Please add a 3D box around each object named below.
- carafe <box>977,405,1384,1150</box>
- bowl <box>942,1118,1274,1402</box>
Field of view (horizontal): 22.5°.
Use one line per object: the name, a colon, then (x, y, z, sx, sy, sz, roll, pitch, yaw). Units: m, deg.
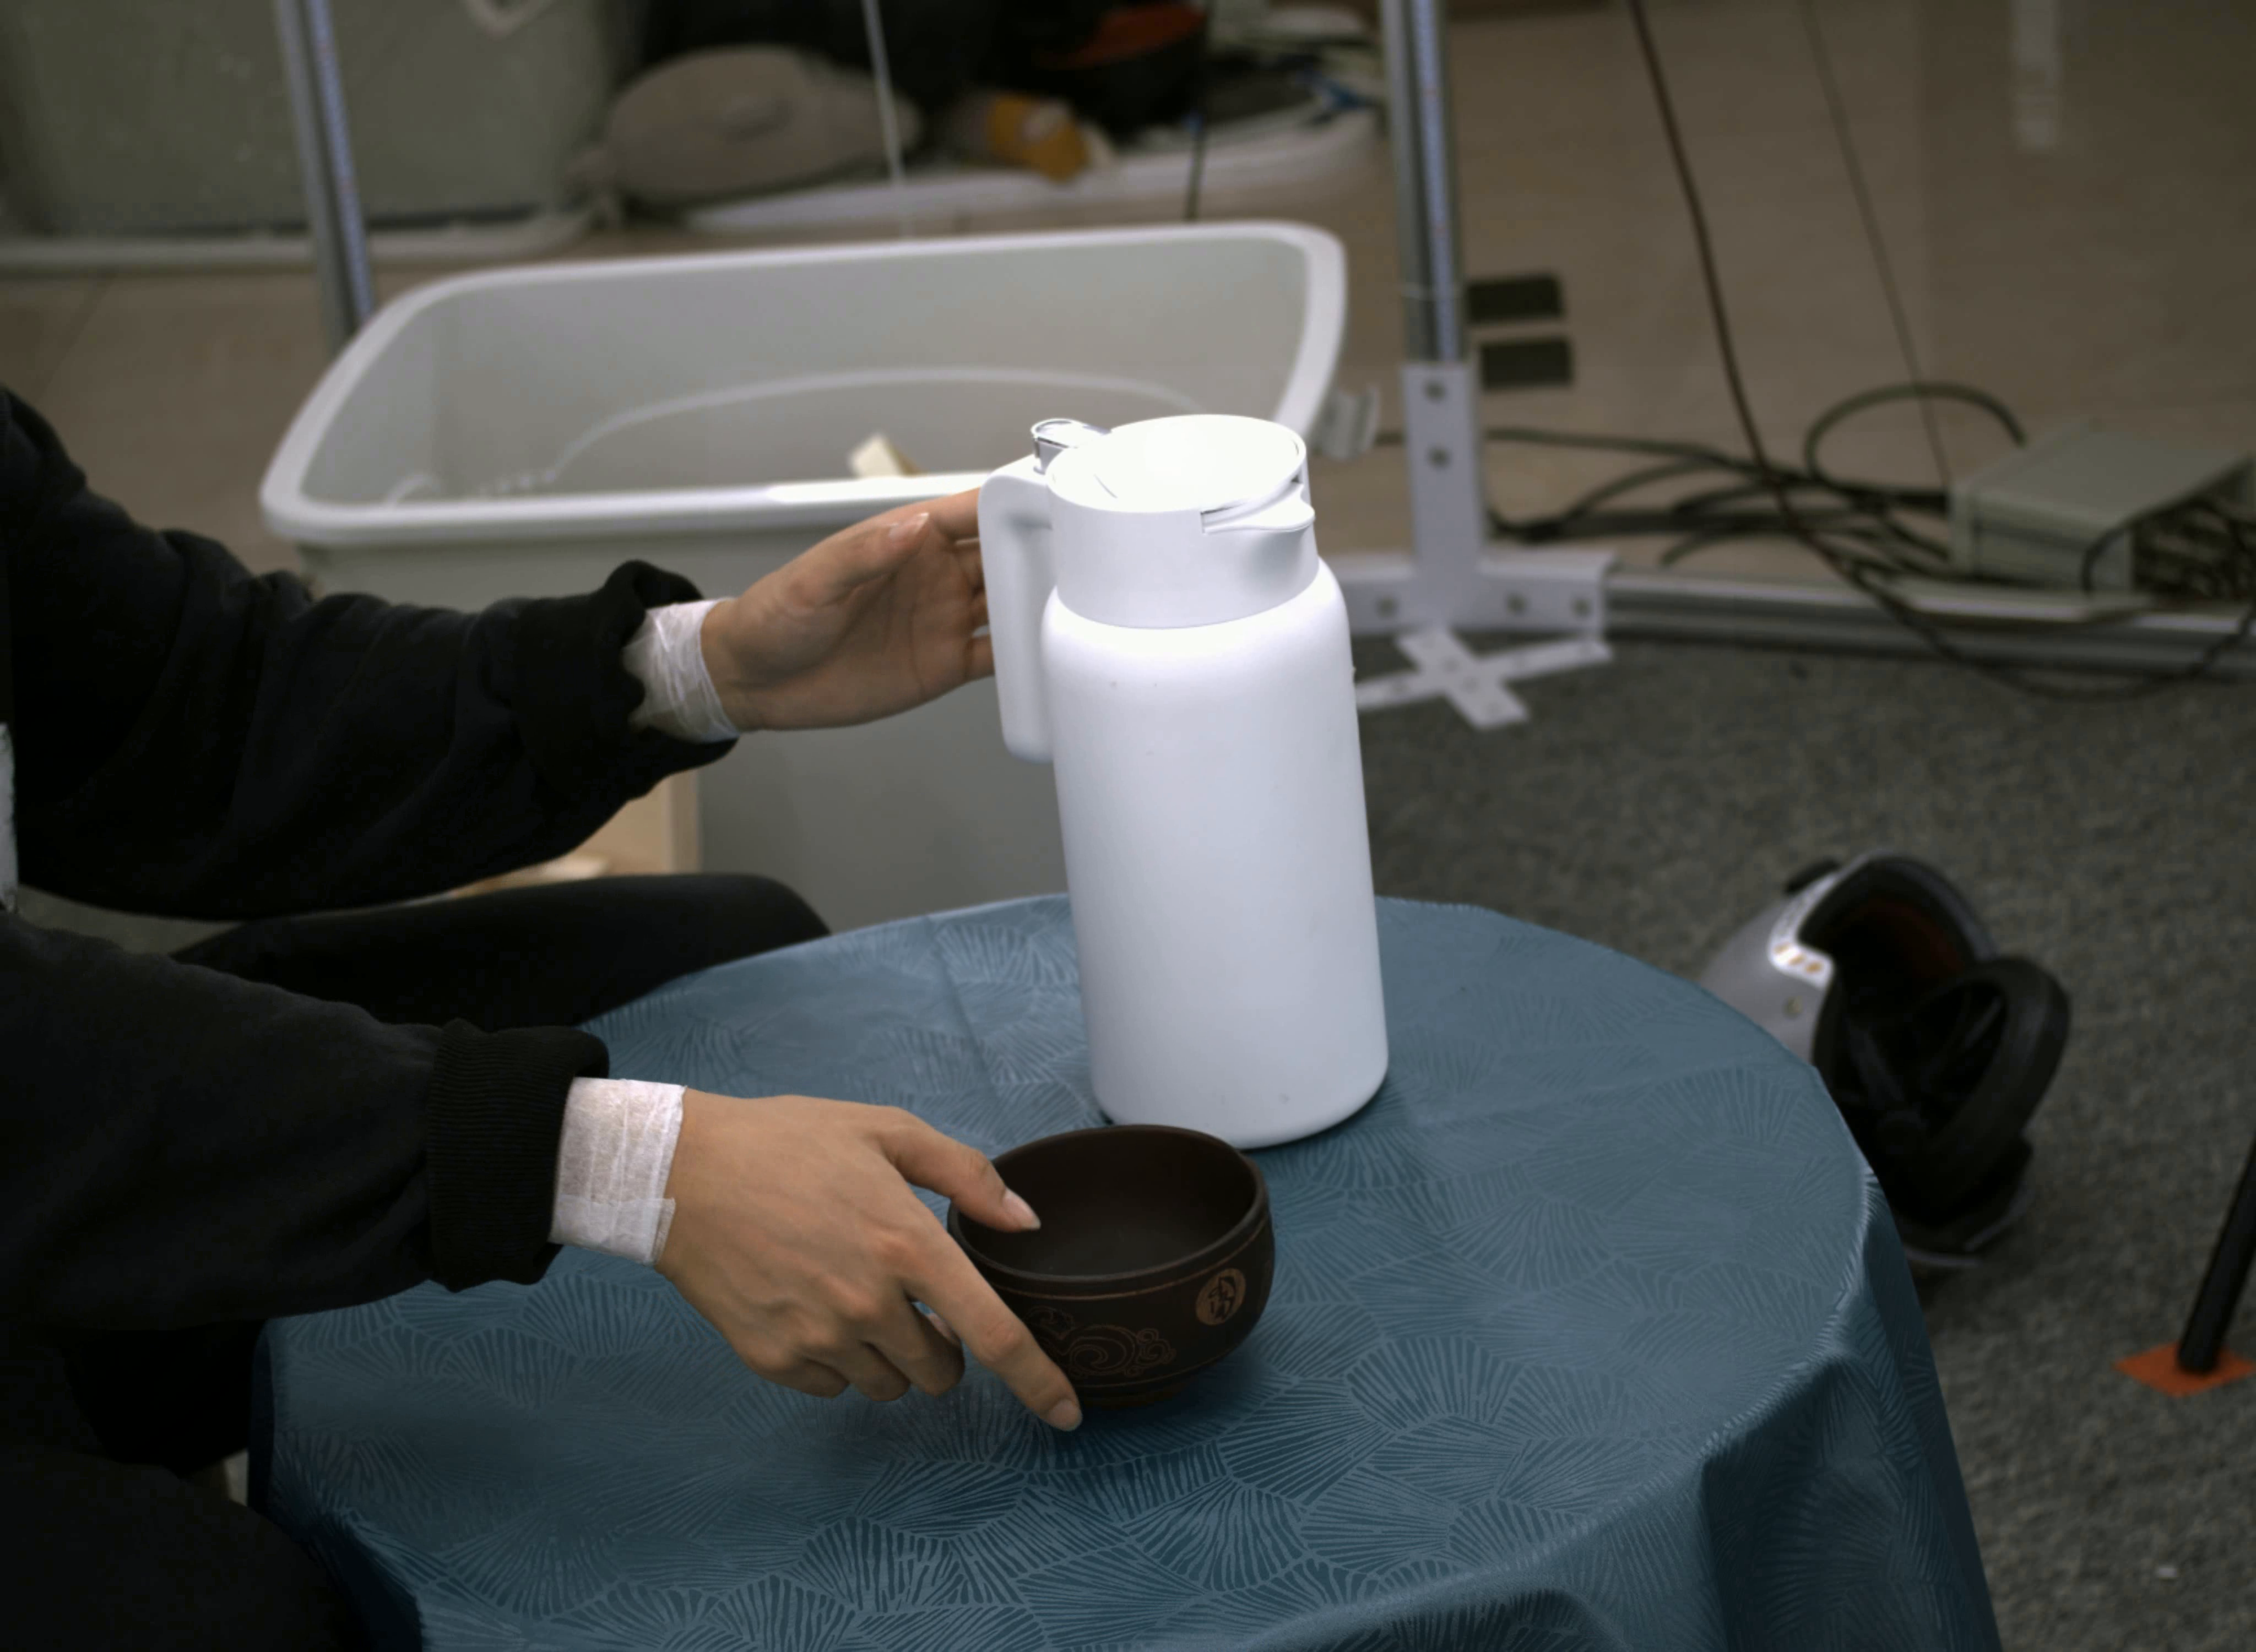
carafe: (0.018, -0.020, 2.166, 0.171, 0.273, 0.123, 19, 38, 42)
bowl: (-0.005, 0.161, 2.016, 0.118, 0.071, 0.116, -6, 25, 3)
